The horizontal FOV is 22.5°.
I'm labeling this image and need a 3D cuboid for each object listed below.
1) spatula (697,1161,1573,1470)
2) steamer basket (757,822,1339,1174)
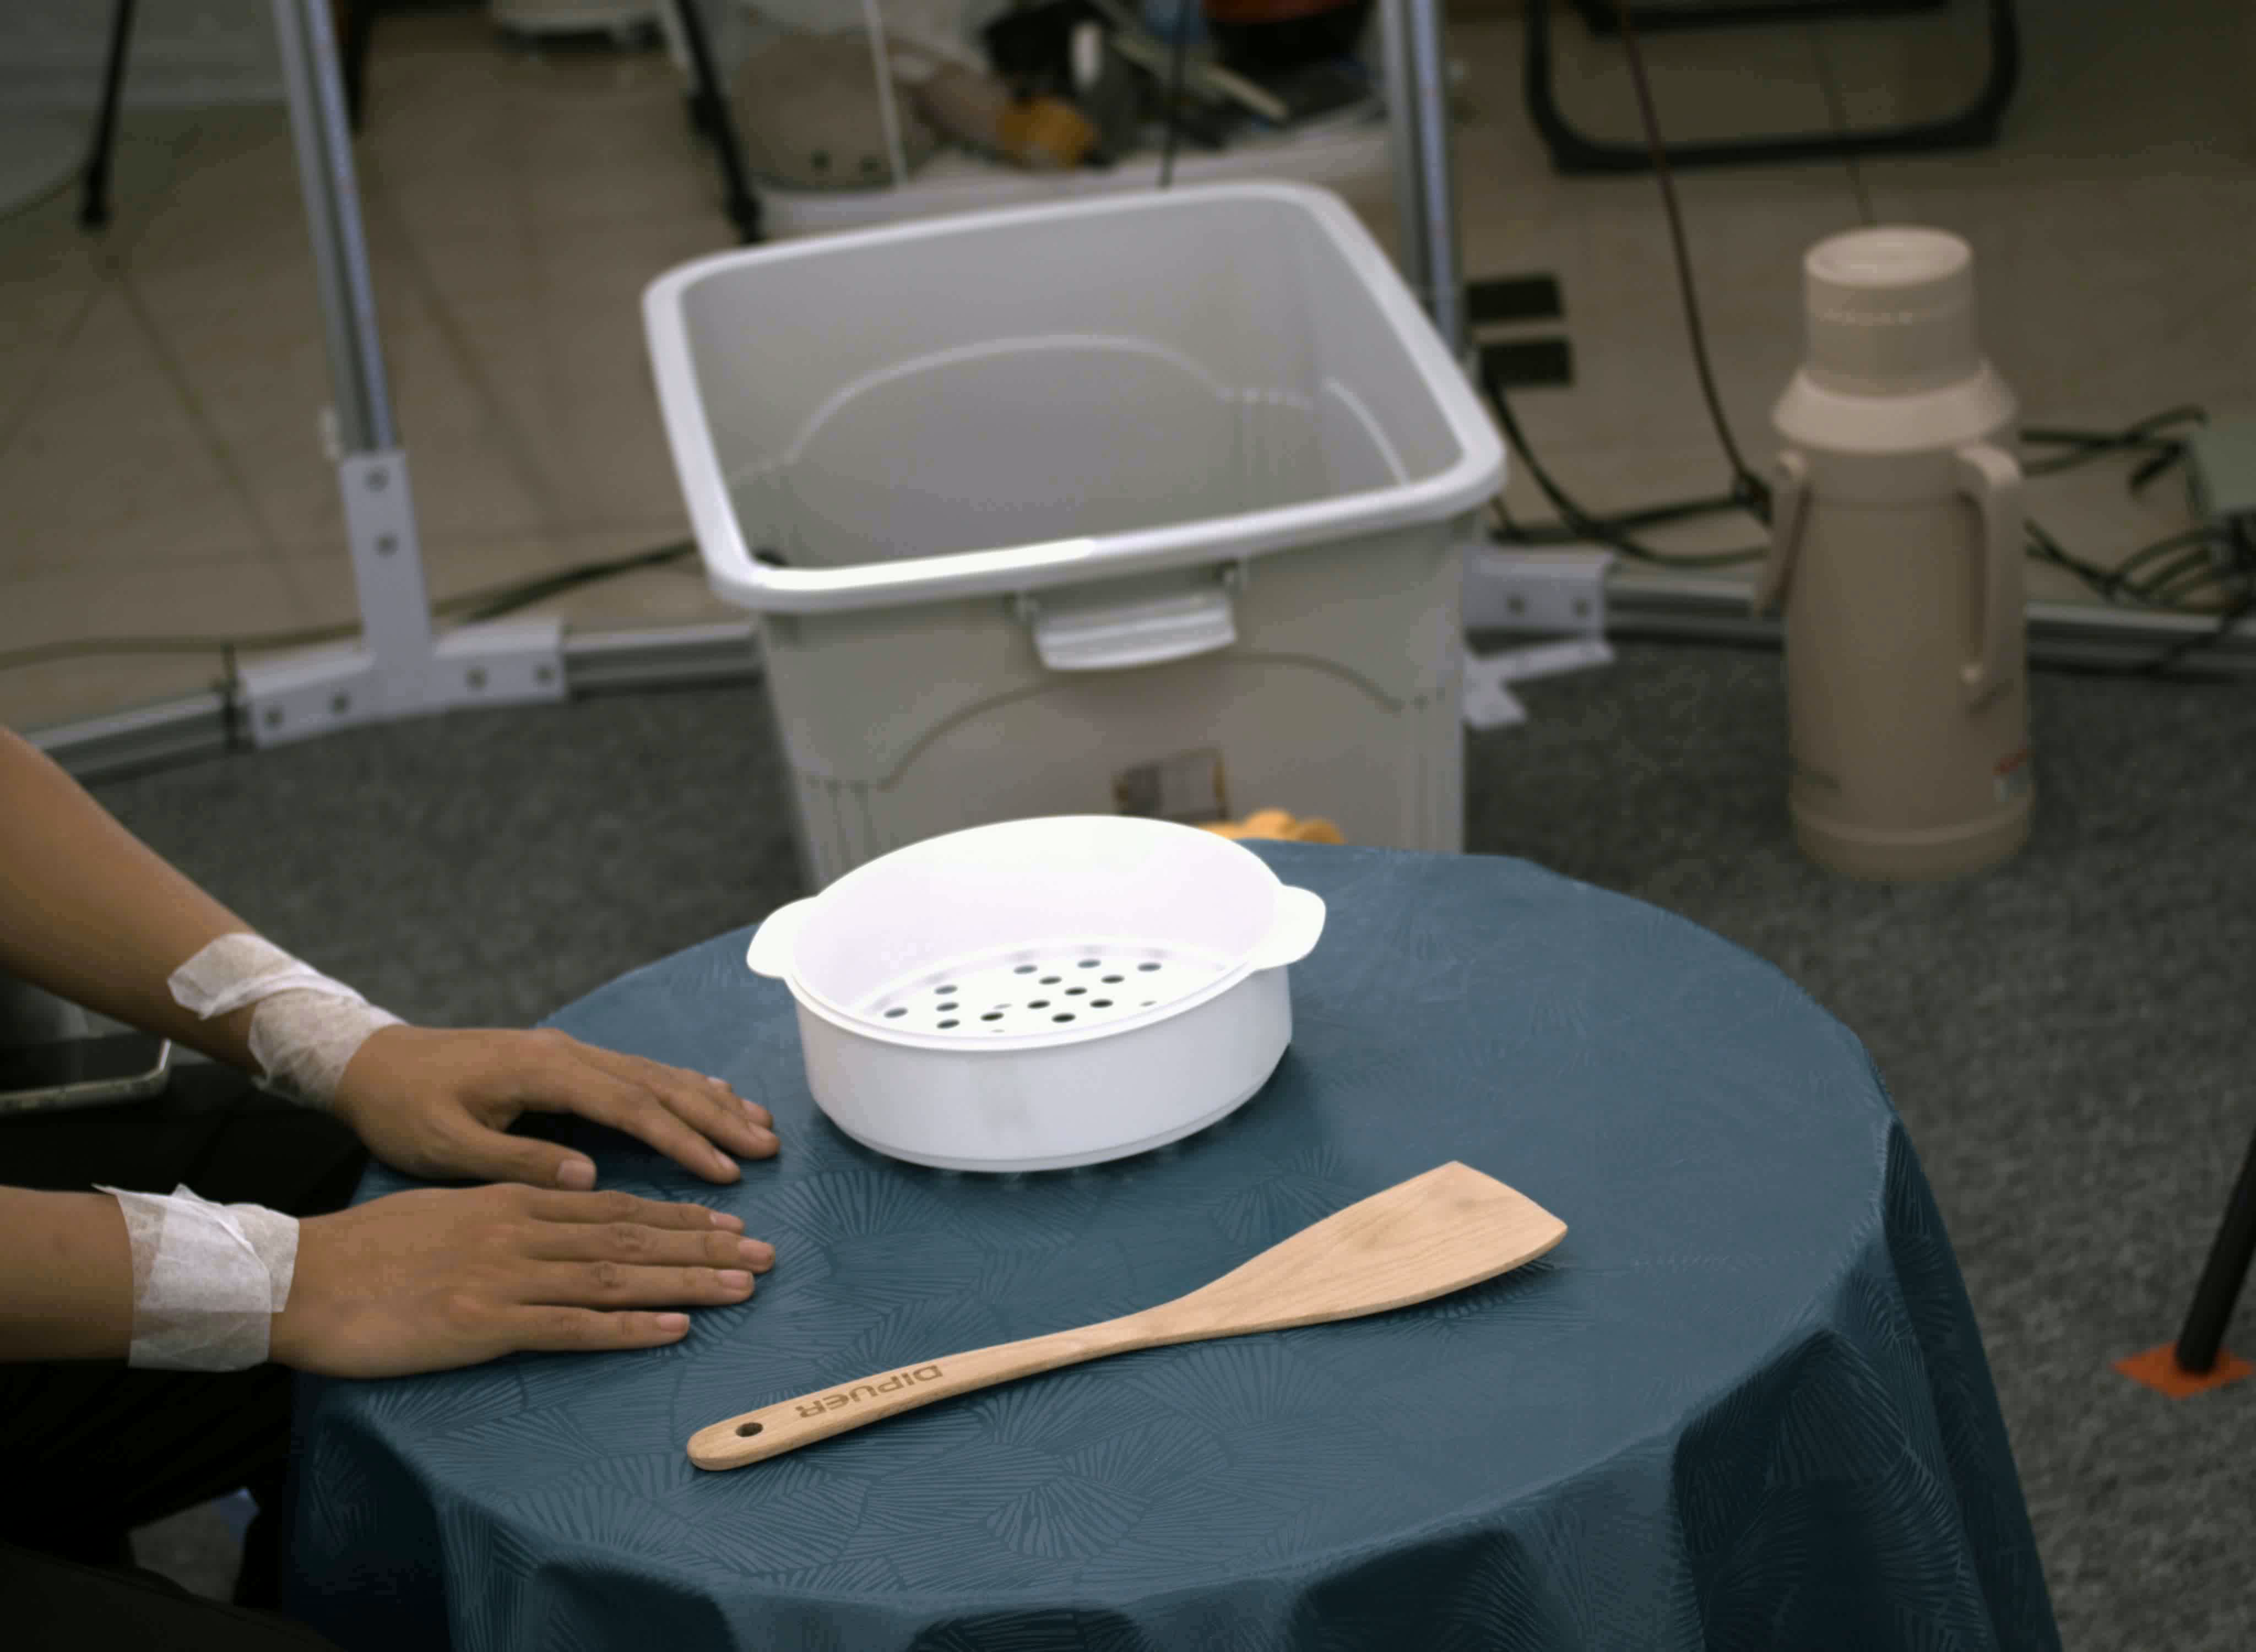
[{"bbox_3d":[-0.001,0.178,2.046,0.326,0.017,0.079,-15,25,-16],"label":"spatula"},{"bbox_3d":[-0.029,0.068,2.233,0.230,0.070,0.199,-2,24,13],"label":"steamer basket"}]
